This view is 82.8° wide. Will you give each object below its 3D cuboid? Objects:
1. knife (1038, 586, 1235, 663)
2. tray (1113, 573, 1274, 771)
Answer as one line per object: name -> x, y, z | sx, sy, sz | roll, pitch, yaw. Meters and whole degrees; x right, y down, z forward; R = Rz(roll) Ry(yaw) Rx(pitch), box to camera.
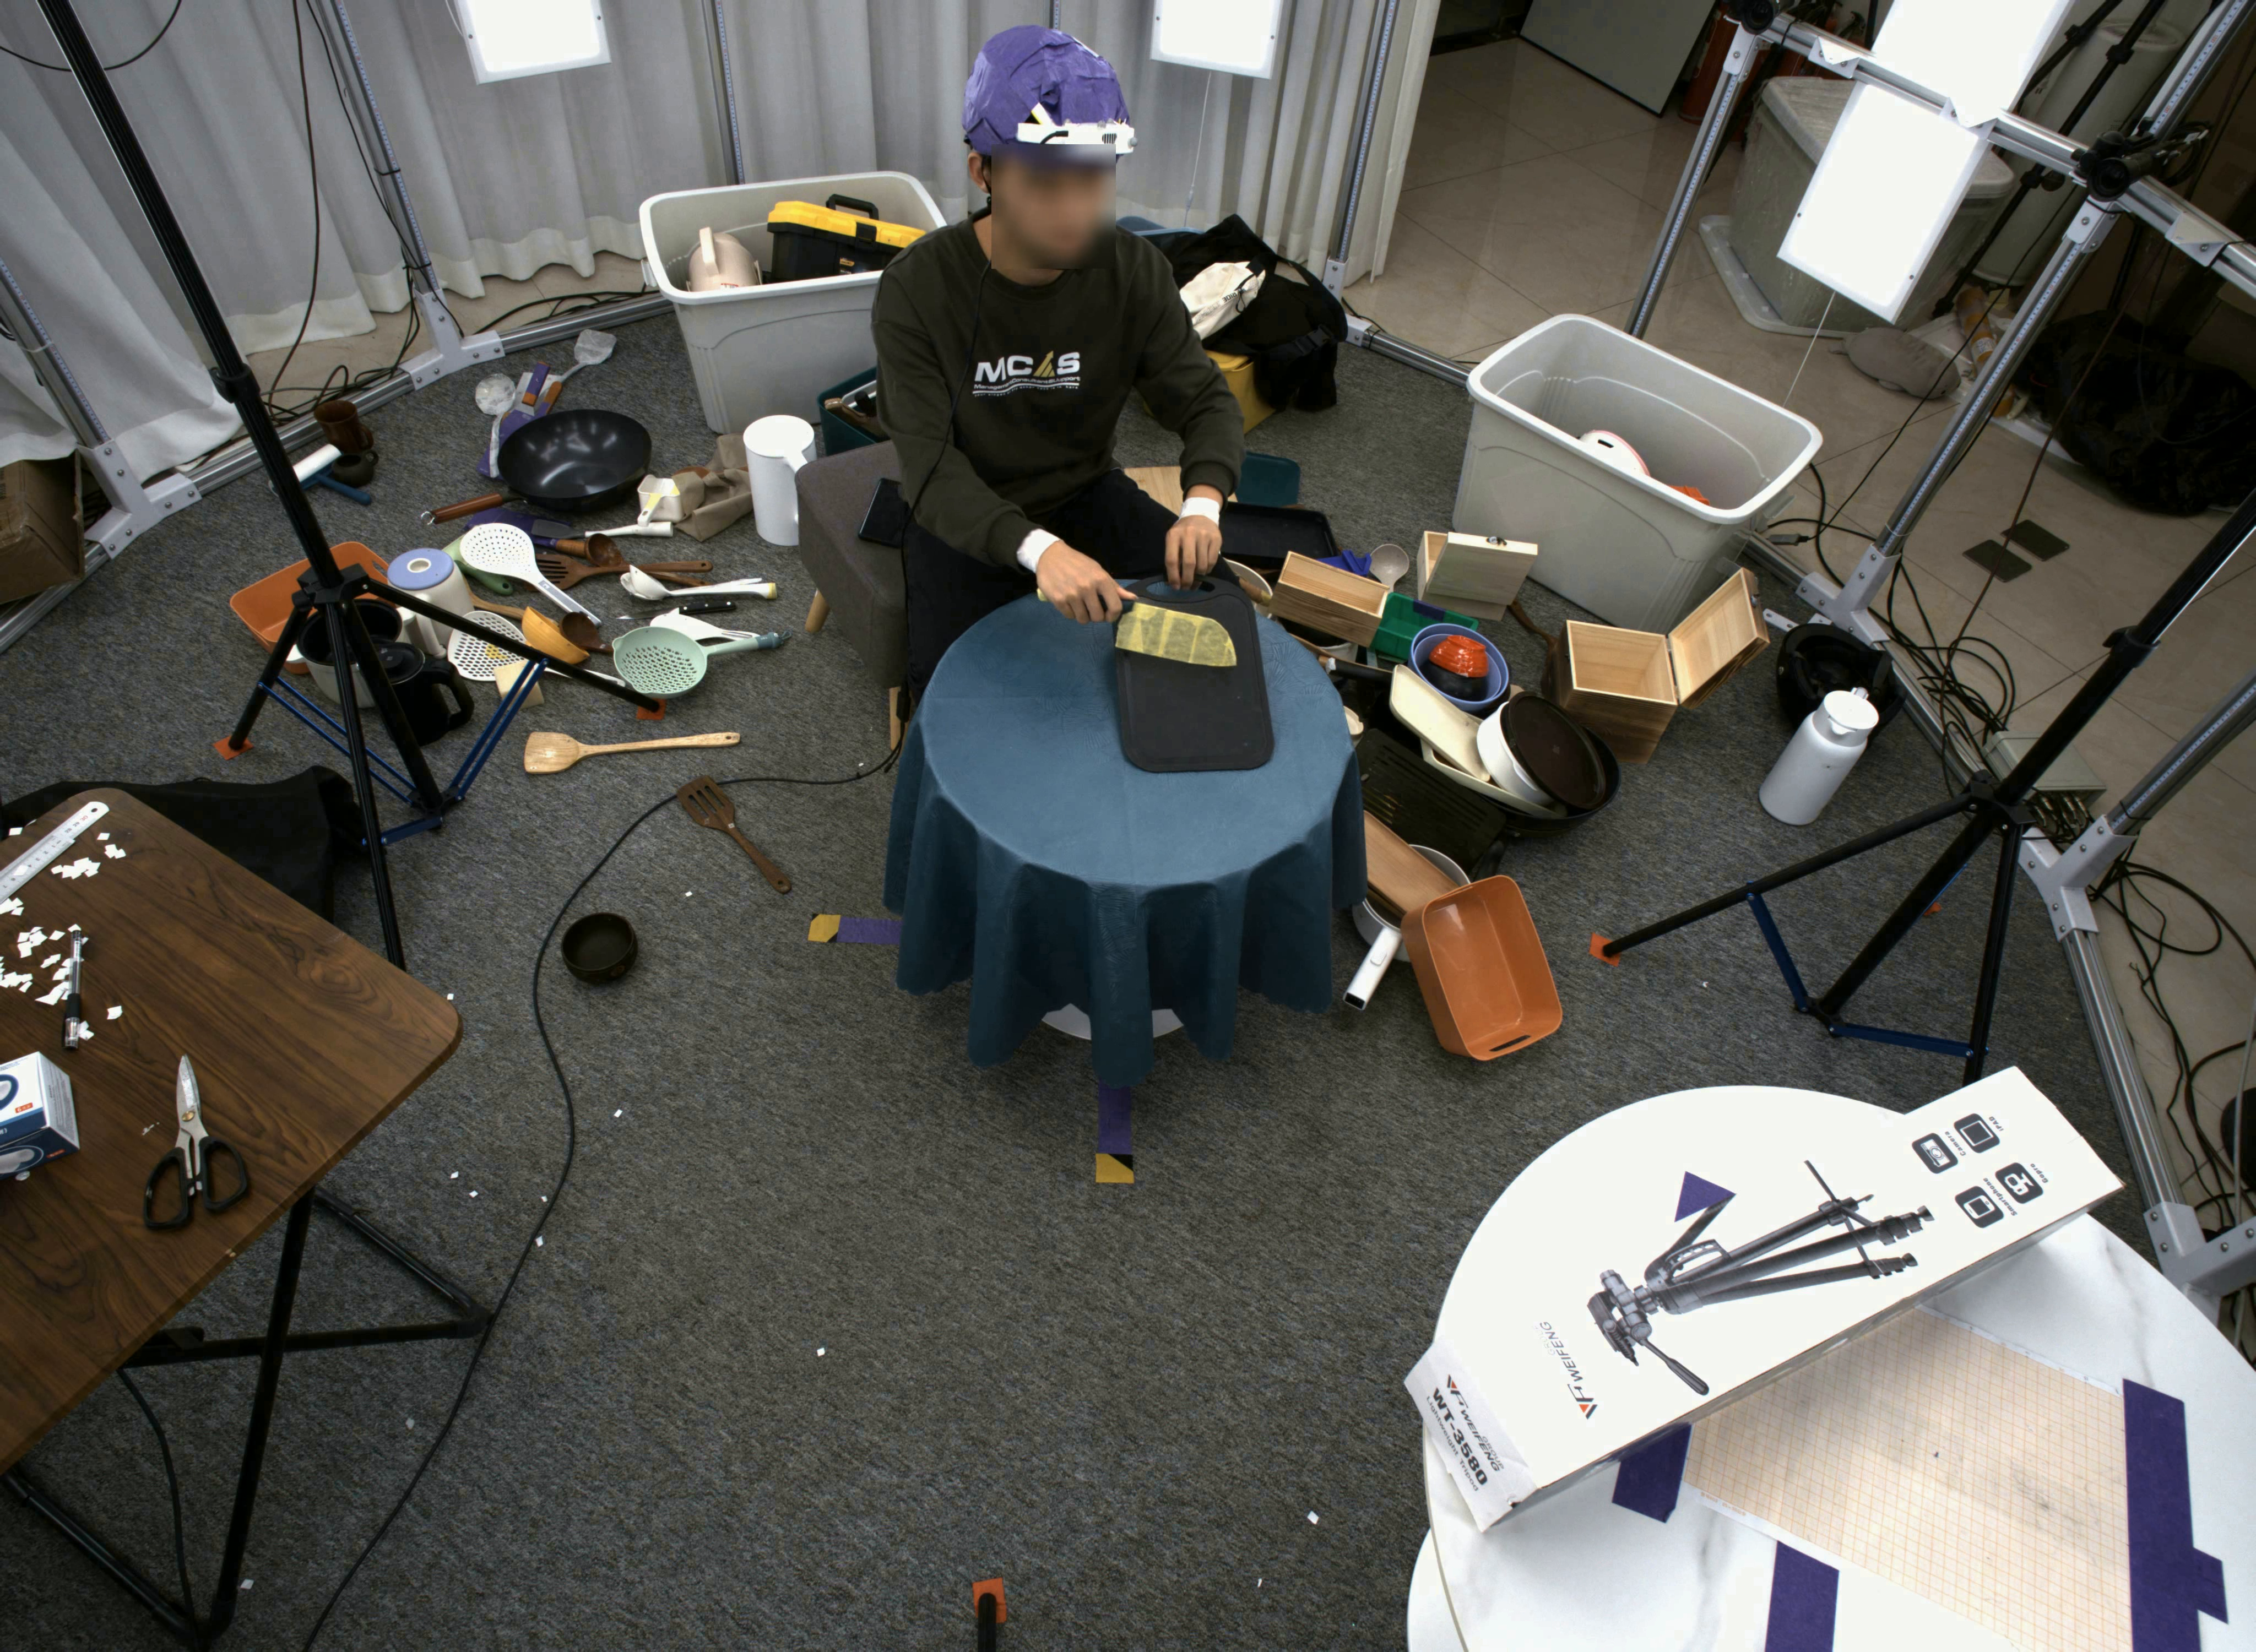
knife -> 0.012, -0.282, 1.799 | 0.289, 0.079, 0.028 | 16, 28, 2
tray -> 0.088, -0.224, 1.811 | 0.211, 0.009, 0.332 | -2, 63, -6
